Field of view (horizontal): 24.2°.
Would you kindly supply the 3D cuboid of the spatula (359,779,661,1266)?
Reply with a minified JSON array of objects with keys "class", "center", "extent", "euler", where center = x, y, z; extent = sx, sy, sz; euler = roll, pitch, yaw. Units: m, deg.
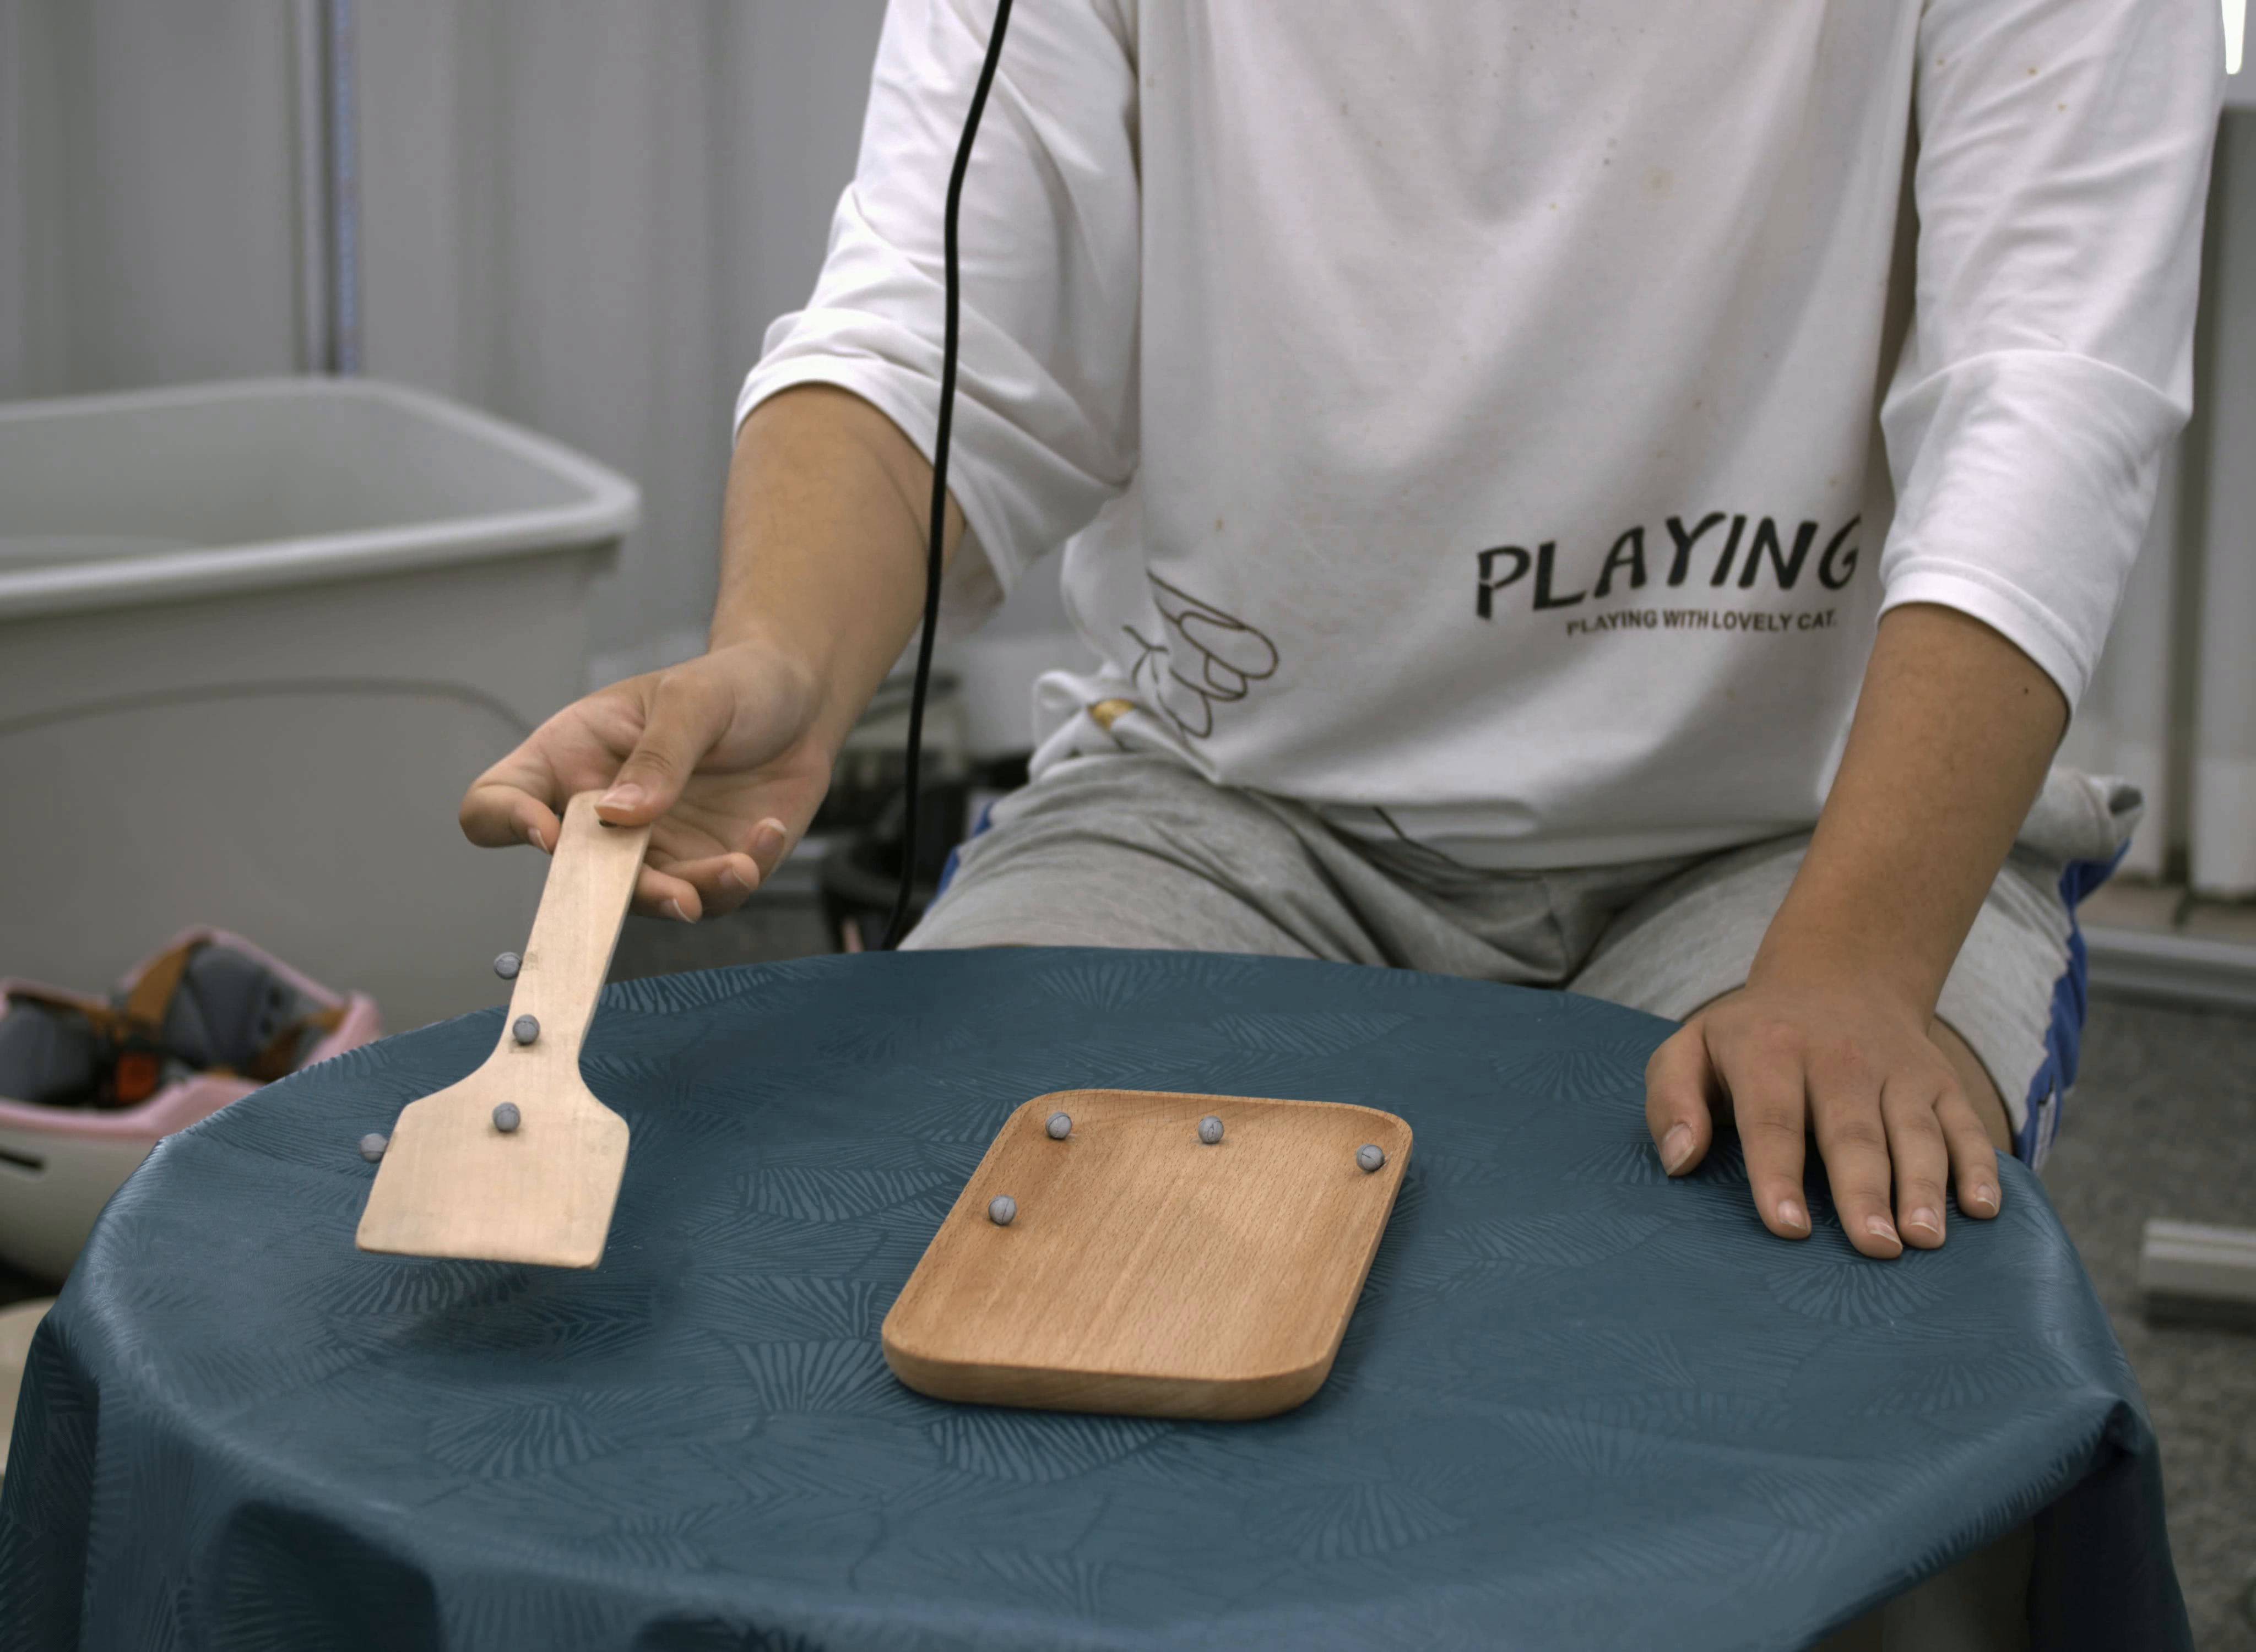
[{"class":"spatula","center":[-0.176,0.055,1.603],"extent":[0.072,0.011,0.291],"euler":[4,28,1]}]

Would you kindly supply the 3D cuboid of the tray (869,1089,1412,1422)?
[{"class":"tray","center":[0.008,0.124,1.558],"extent":[0.129,0.023,0.250],"euler":[1,16,11]}]
